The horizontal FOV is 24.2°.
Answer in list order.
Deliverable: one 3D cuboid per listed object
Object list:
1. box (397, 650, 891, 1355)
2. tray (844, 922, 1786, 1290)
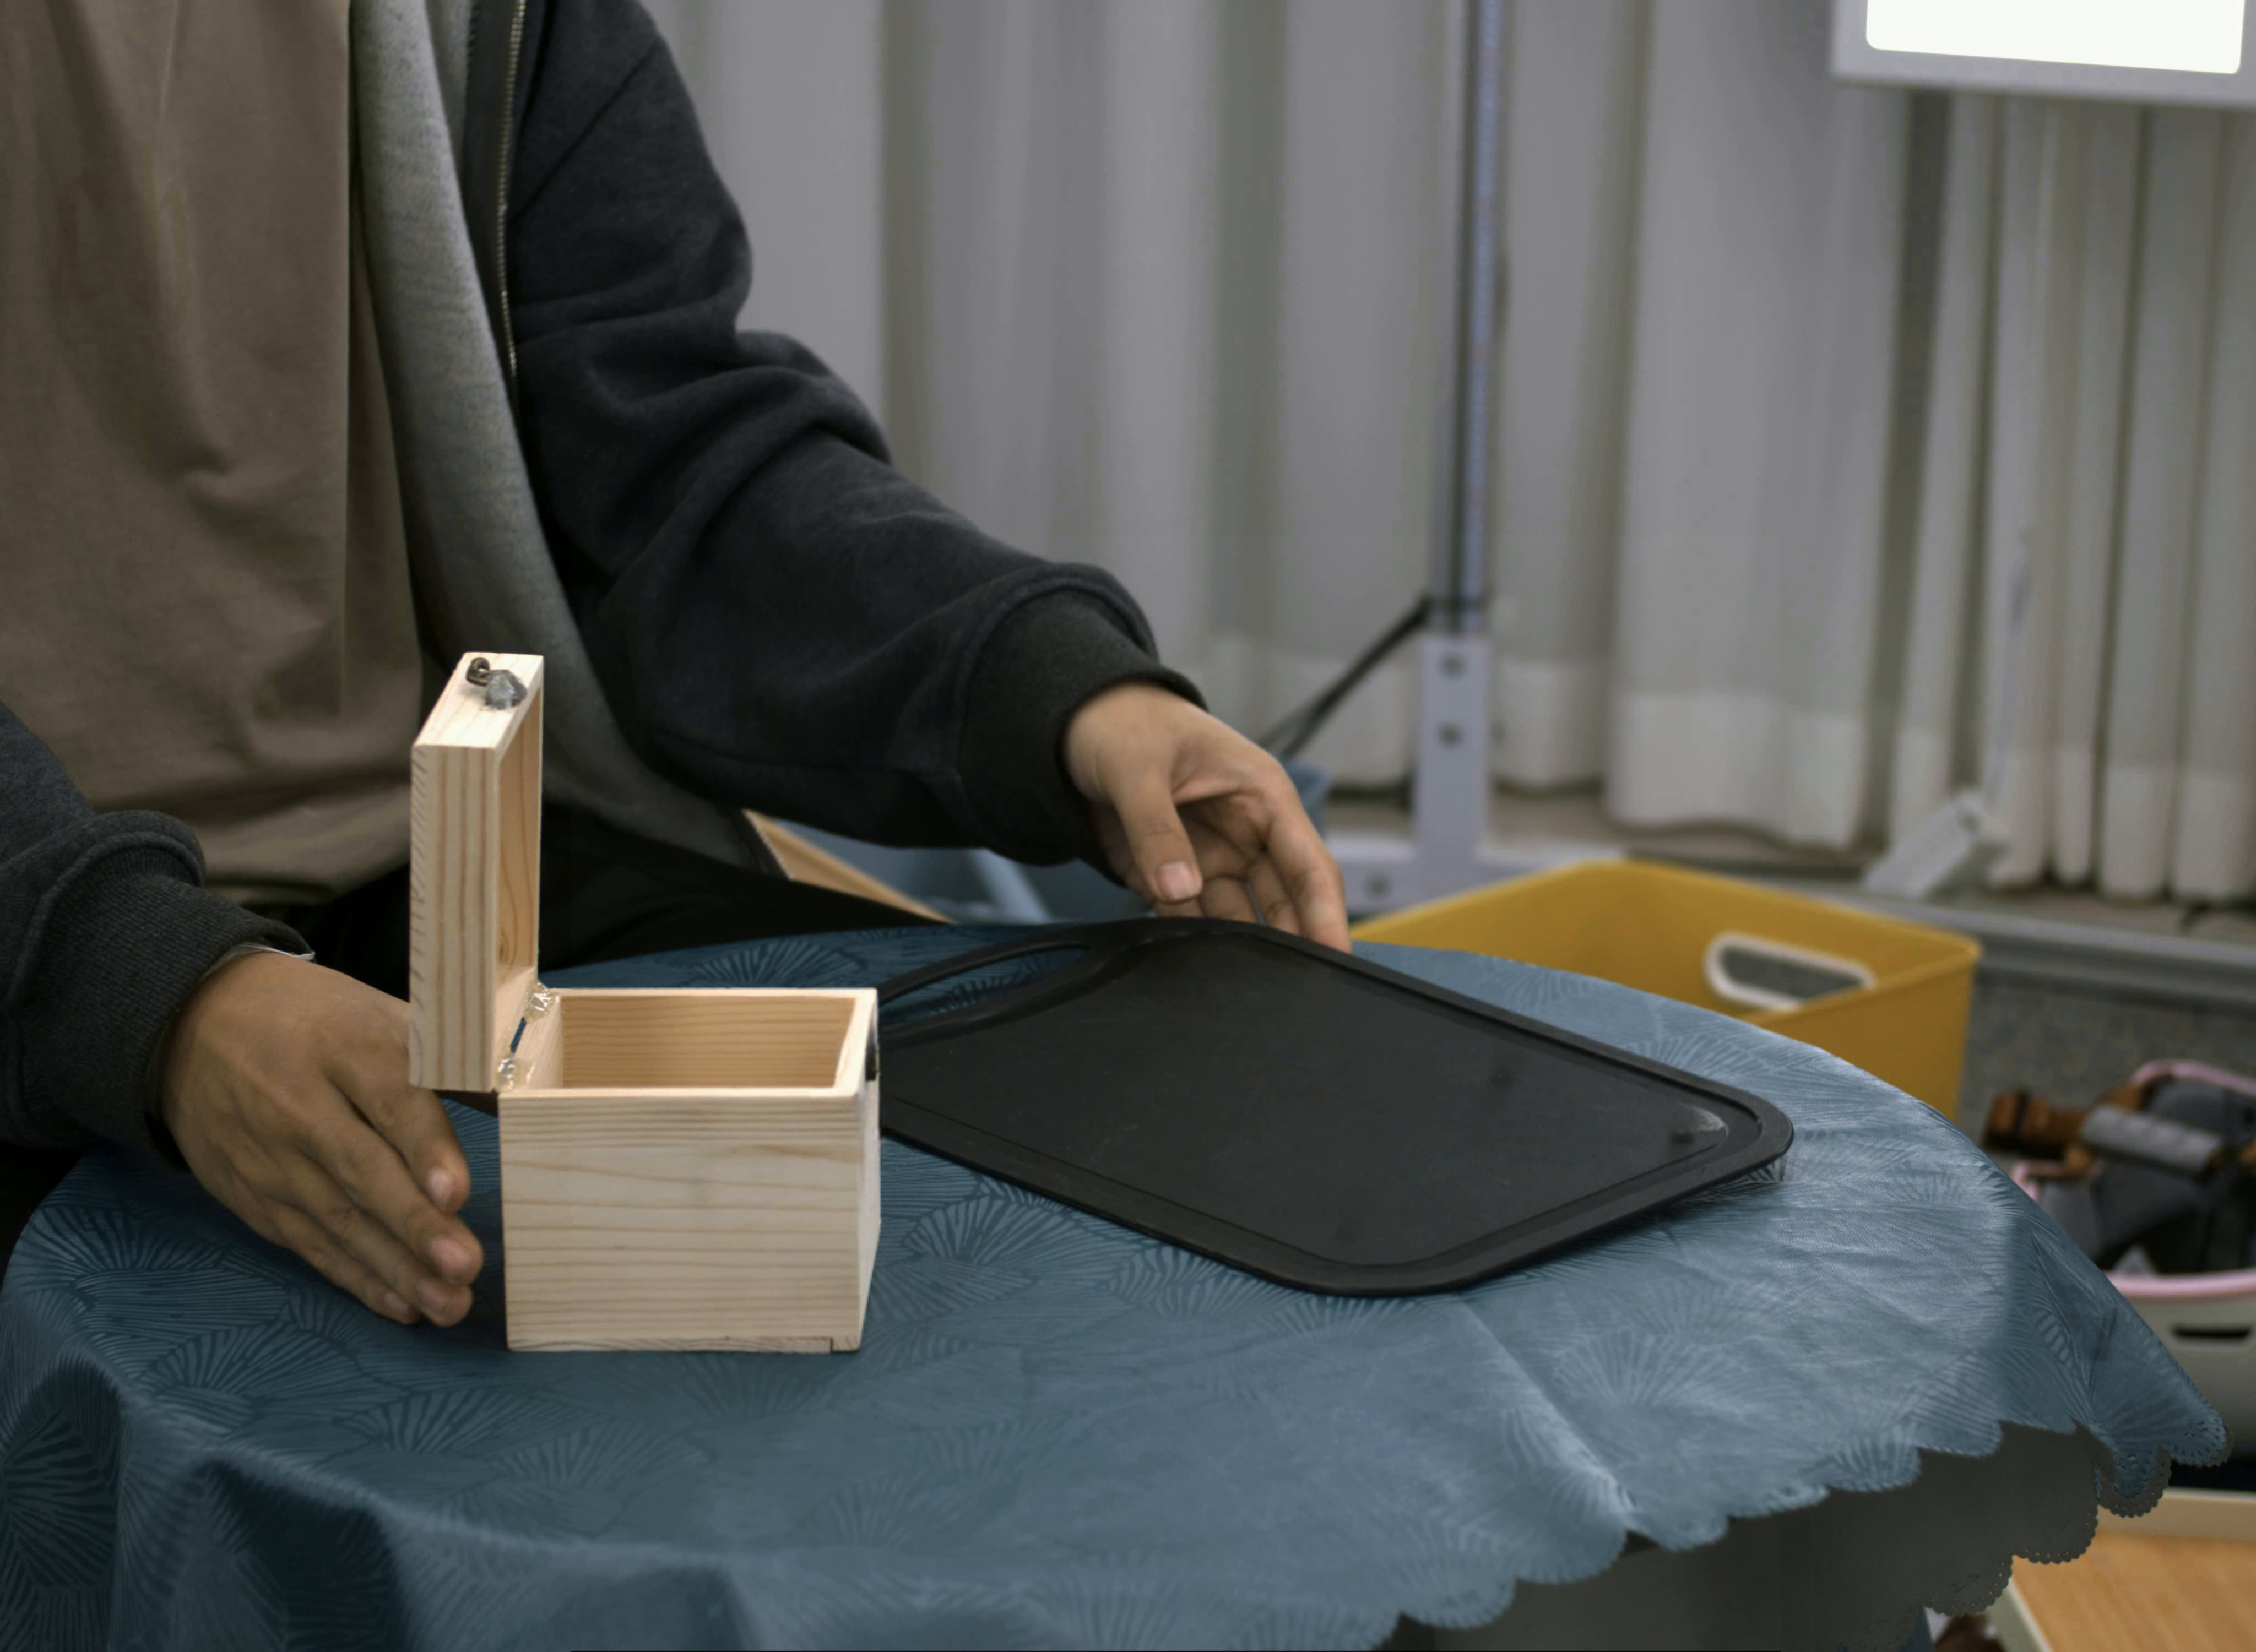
[{"bbox_3d":[-0.135,0.048,1.507,0.133,0.186,0.102,-1,16,0],"label":"box"},{"bbox_3d":[0.039,0.082,1.693,0.212,0.010,0.321,-17,24,-39],"label":"tray"}]
